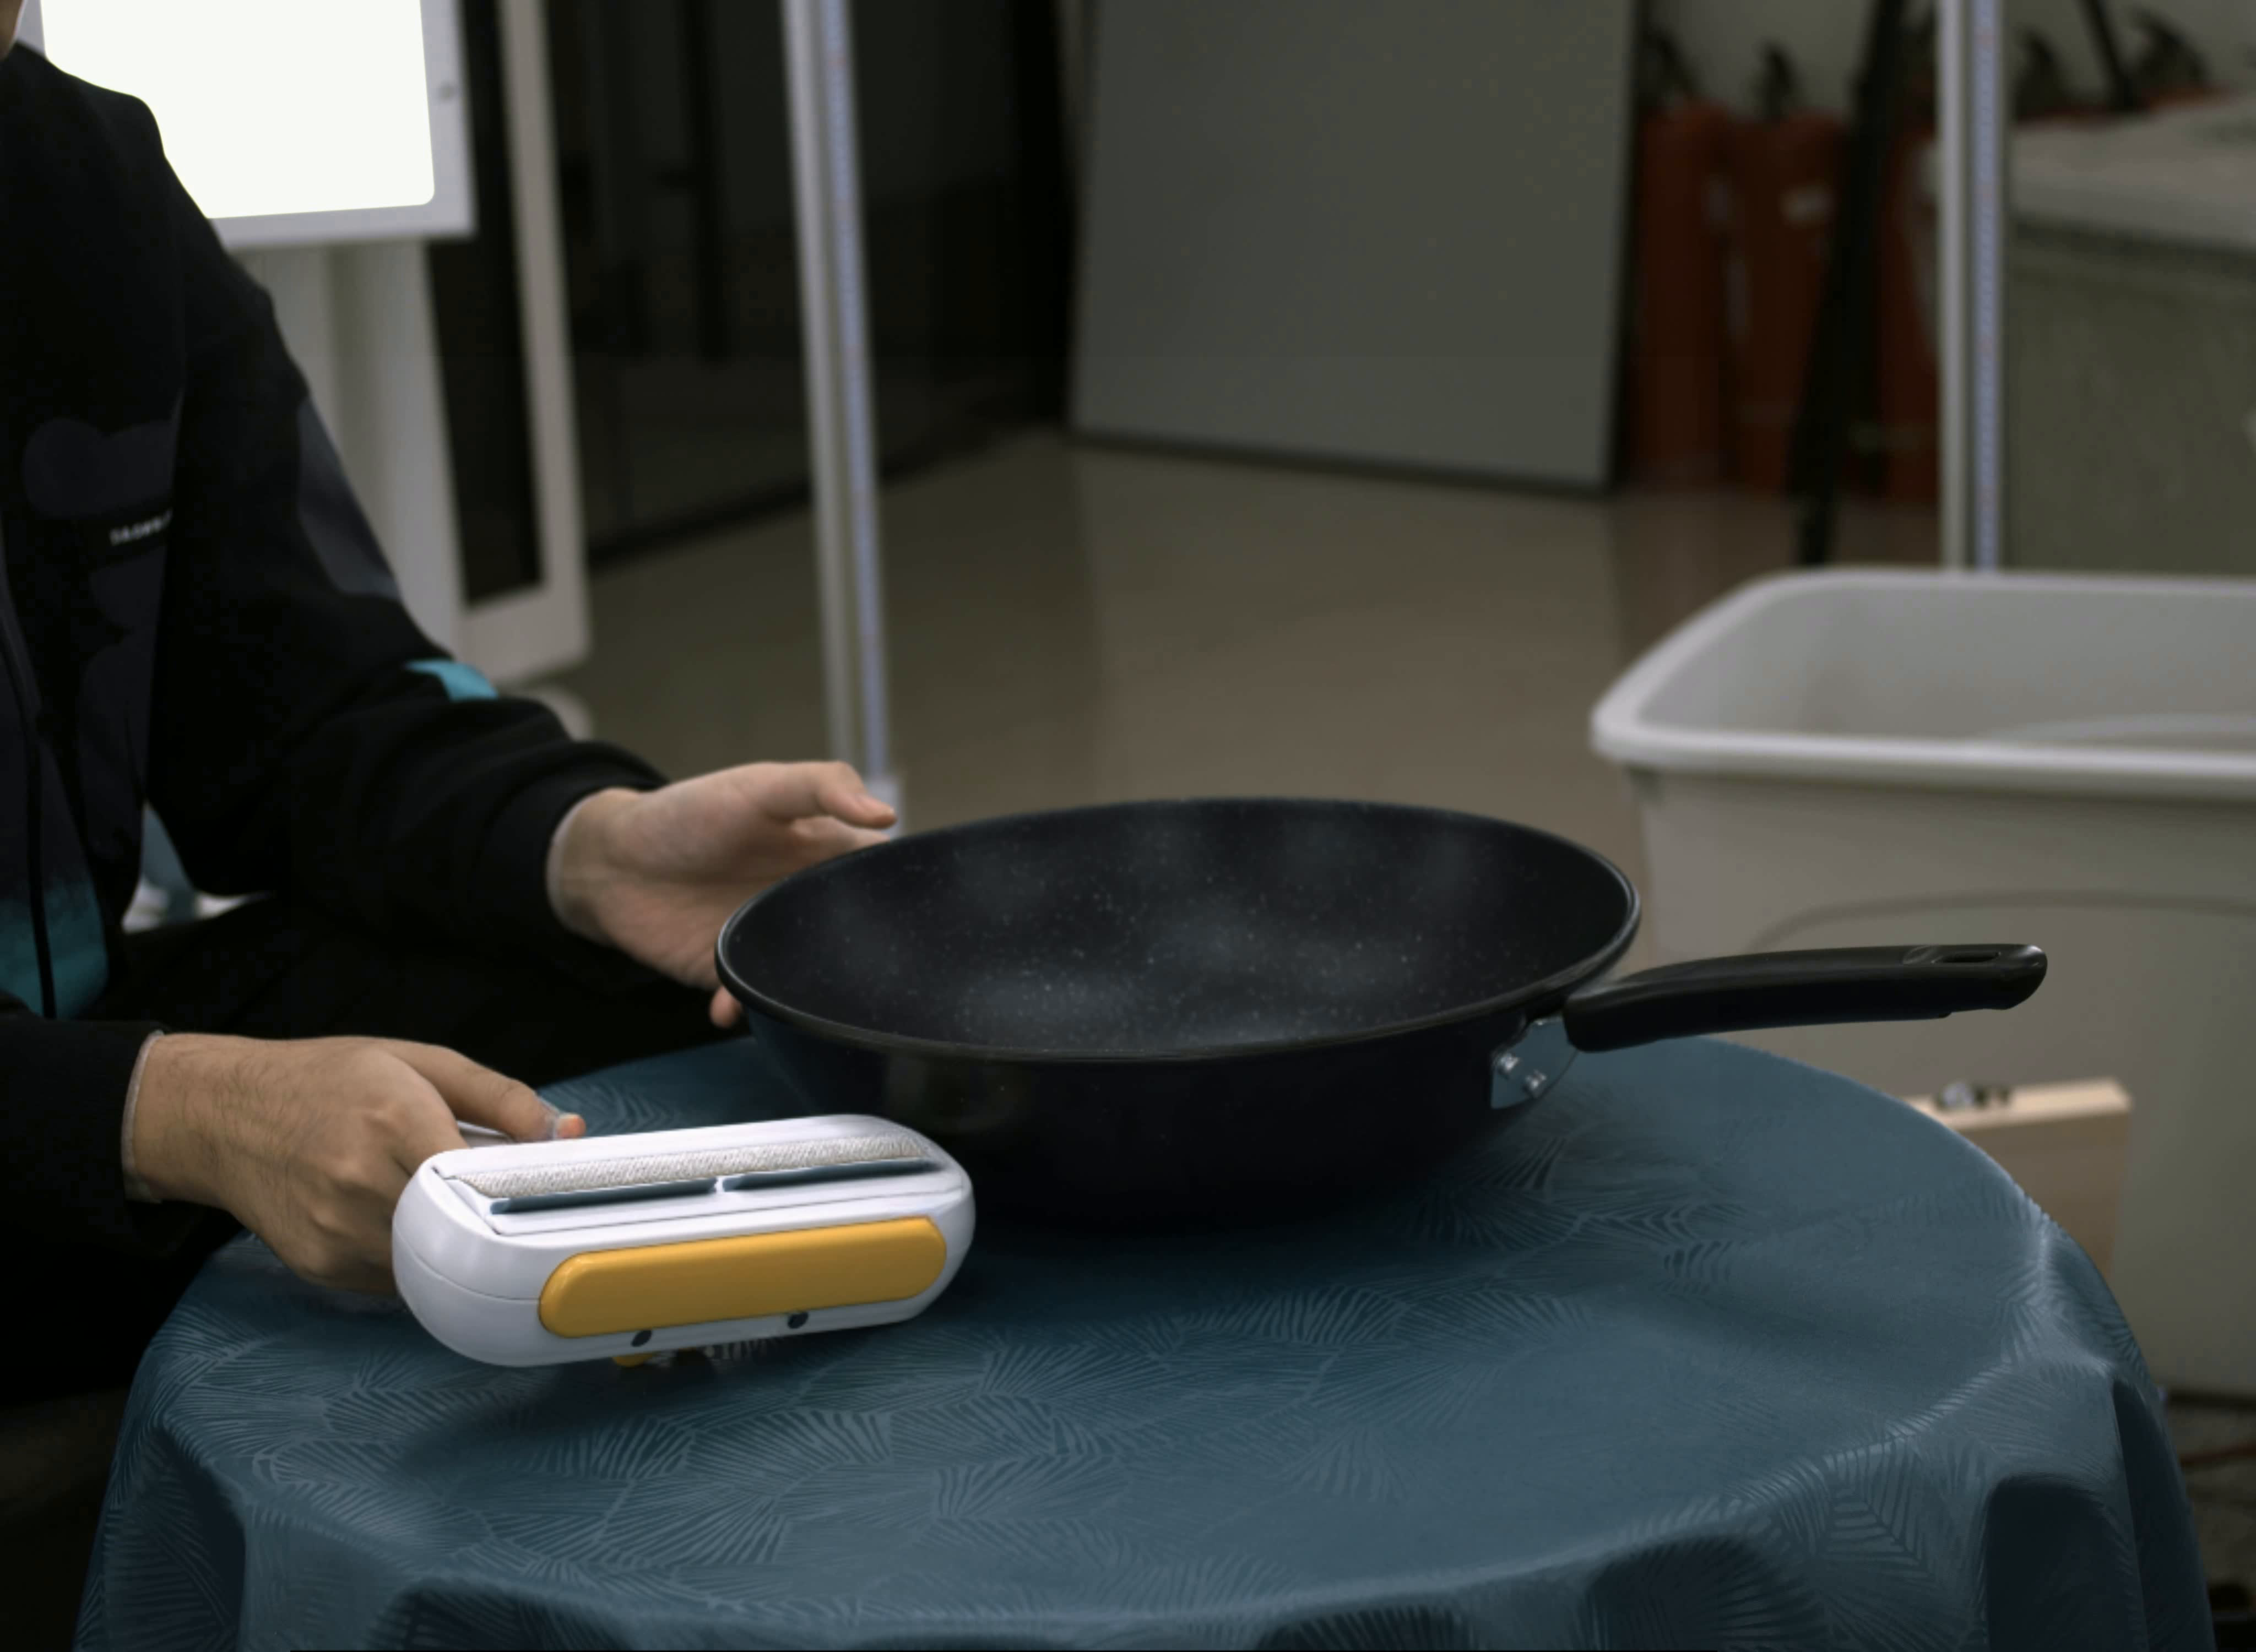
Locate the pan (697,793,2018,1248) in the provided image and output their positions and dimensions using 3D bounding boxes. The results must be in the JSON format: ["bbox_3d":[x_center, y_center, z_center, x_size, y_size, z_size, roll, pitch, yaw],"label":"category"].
[{"bbox_3d":[0.077,0.068,1.741,0.480,0.113,0.304,7,19,38],"label":"pan"}]

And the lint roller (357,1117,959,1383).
[{"bbox_3d":[-0.170,0.115,1.673,0.188,0.075,0.194,-7,20,-32],"label":"lint roller"}]
